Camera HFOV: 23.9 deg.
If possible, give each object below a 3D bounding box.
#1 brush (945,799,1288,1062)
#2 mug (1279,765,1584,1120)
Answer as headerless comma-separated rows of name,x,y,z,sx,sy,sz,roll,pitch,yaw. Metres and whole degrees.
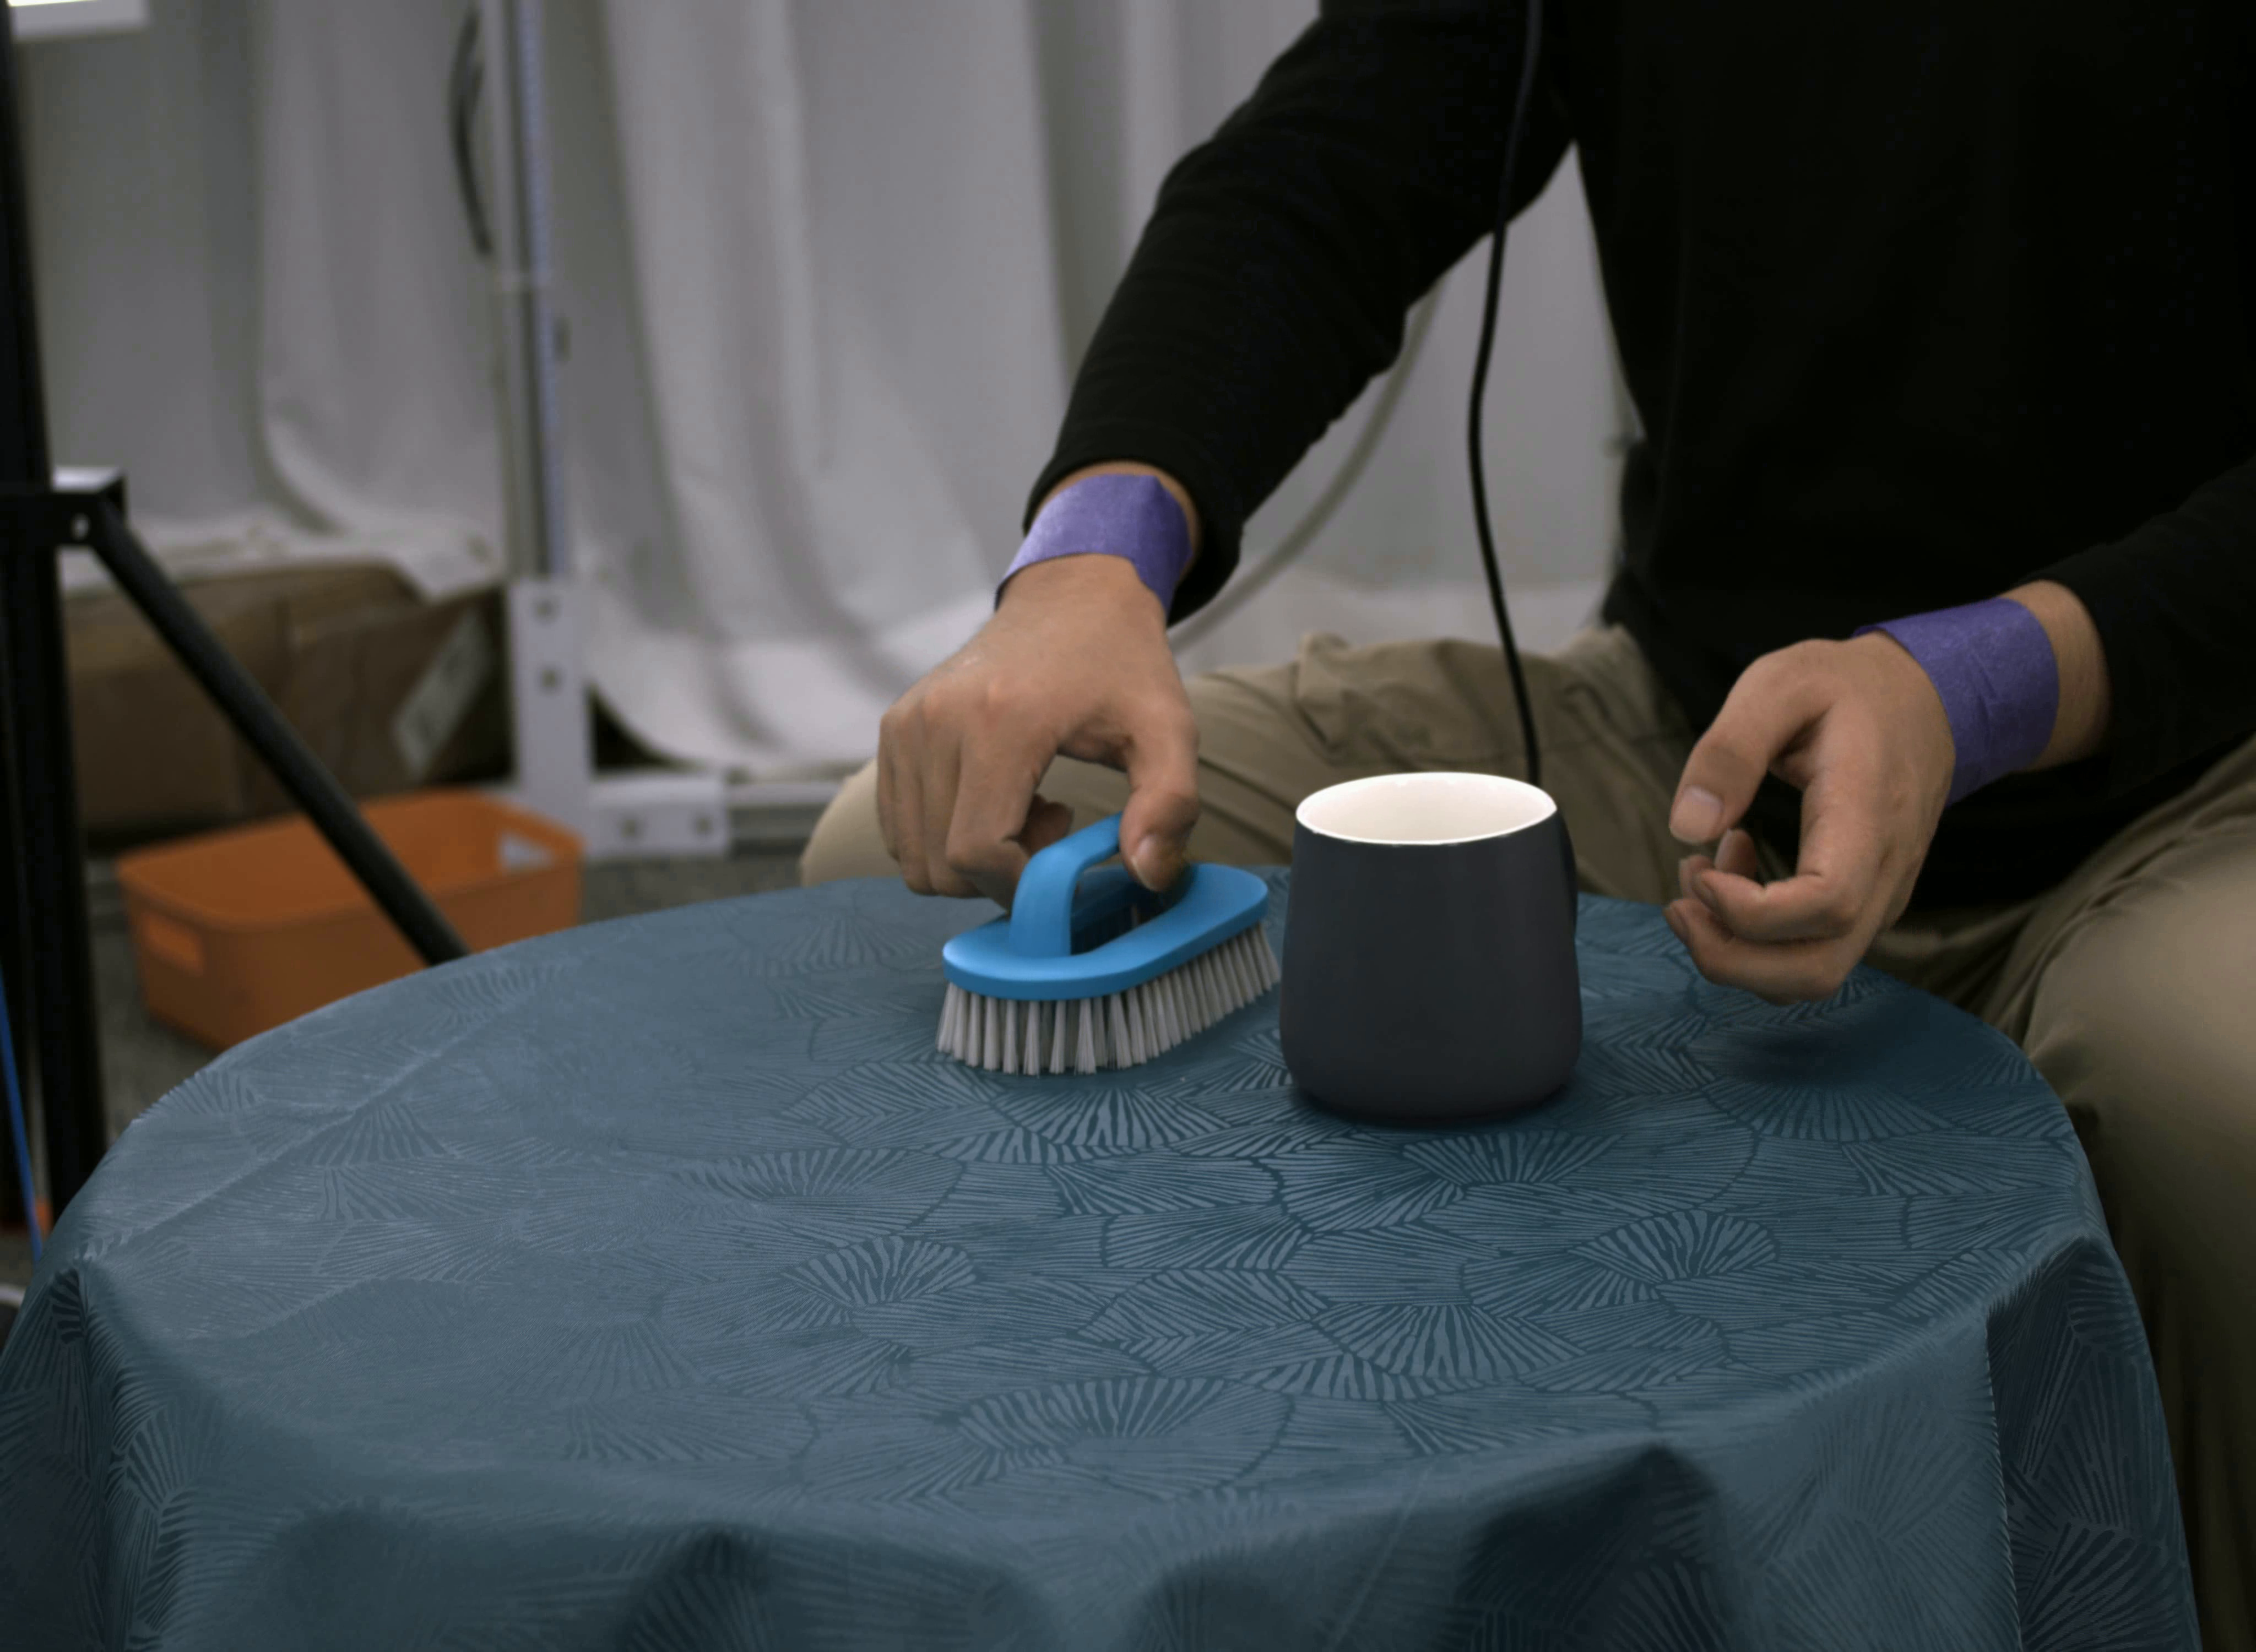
brush,-0.004,0.029,1.719,0.086,0.064,0.139,2,15,33
mug,0.102,0.032,1.637,0.095,0.090,0.120,11,22,39
